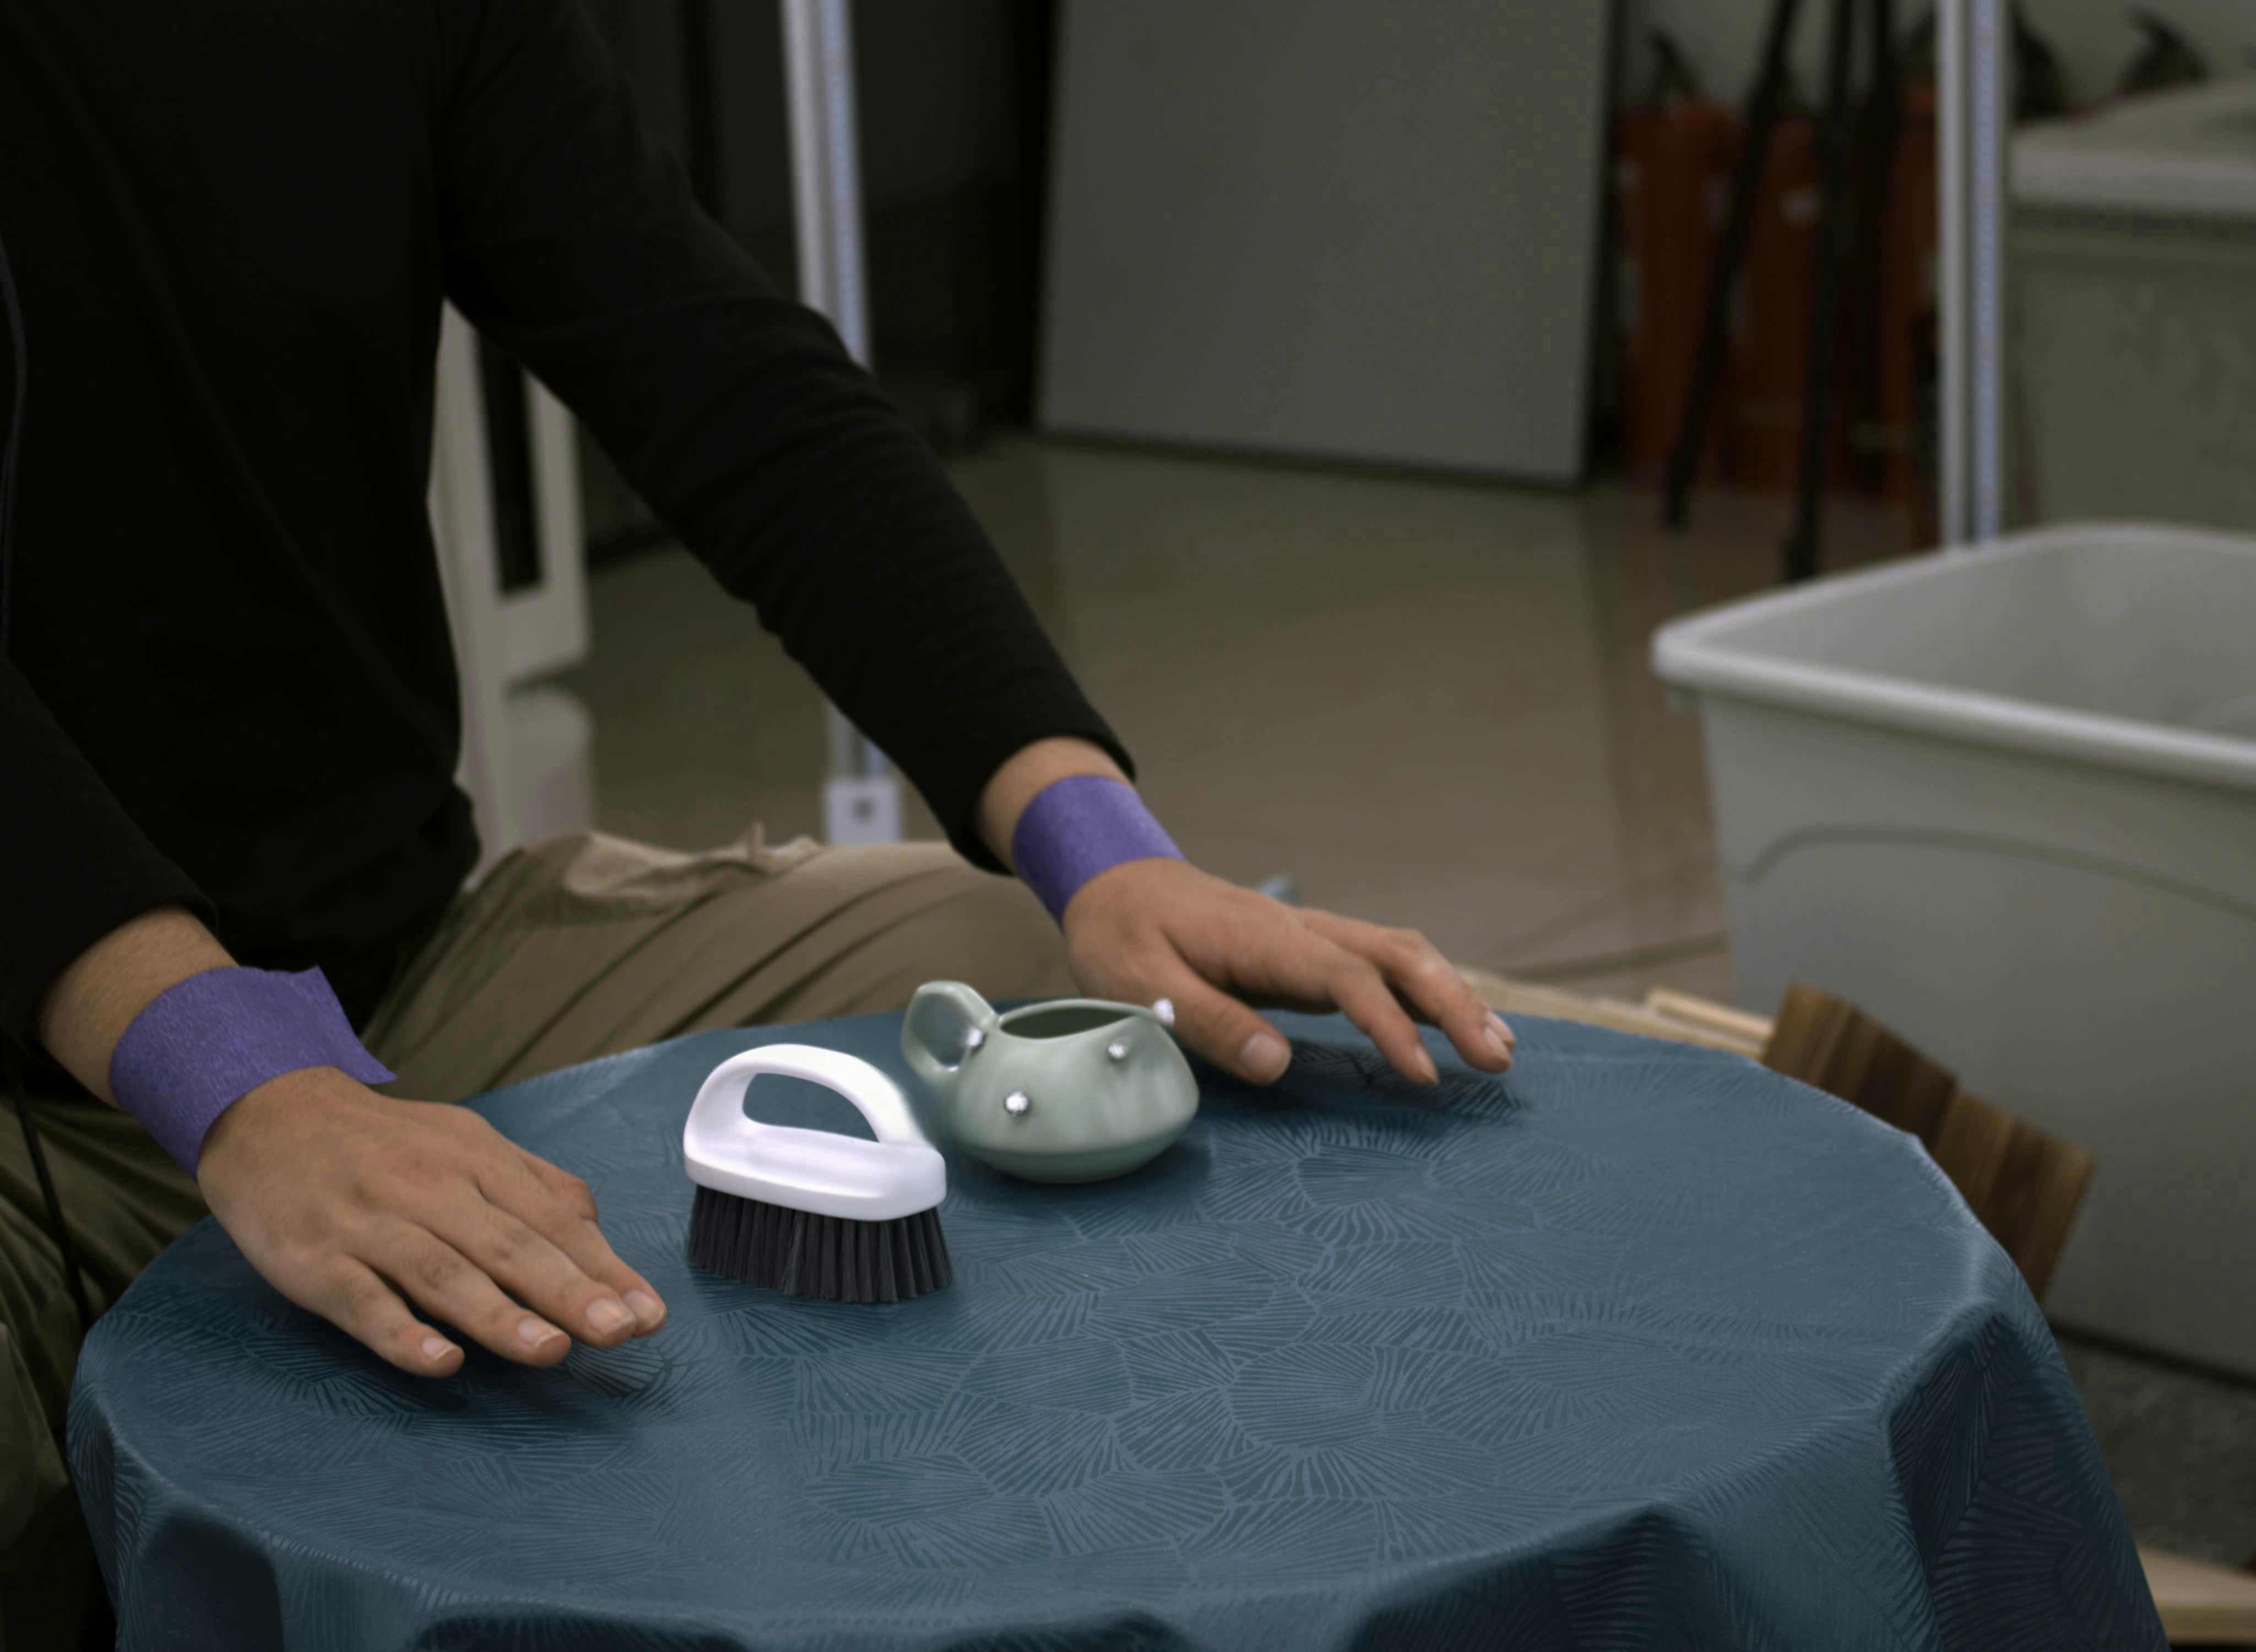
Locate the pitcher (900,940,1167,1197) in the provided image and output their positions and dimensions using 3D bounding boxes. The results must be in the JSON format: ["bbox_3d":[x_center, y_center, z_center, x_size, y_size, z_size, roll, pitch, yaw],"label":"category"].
[{"bbox_3d":[-0.038,0.081,1.807,0.109,0.061,0.084,28,42,36],"label":"pitcher"}]

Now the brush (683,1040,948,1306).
[{"bbox_3d":[-0.100,0.105,1.705,0.100,0.073,0.049,10,18,43],"label":"brush"}]
